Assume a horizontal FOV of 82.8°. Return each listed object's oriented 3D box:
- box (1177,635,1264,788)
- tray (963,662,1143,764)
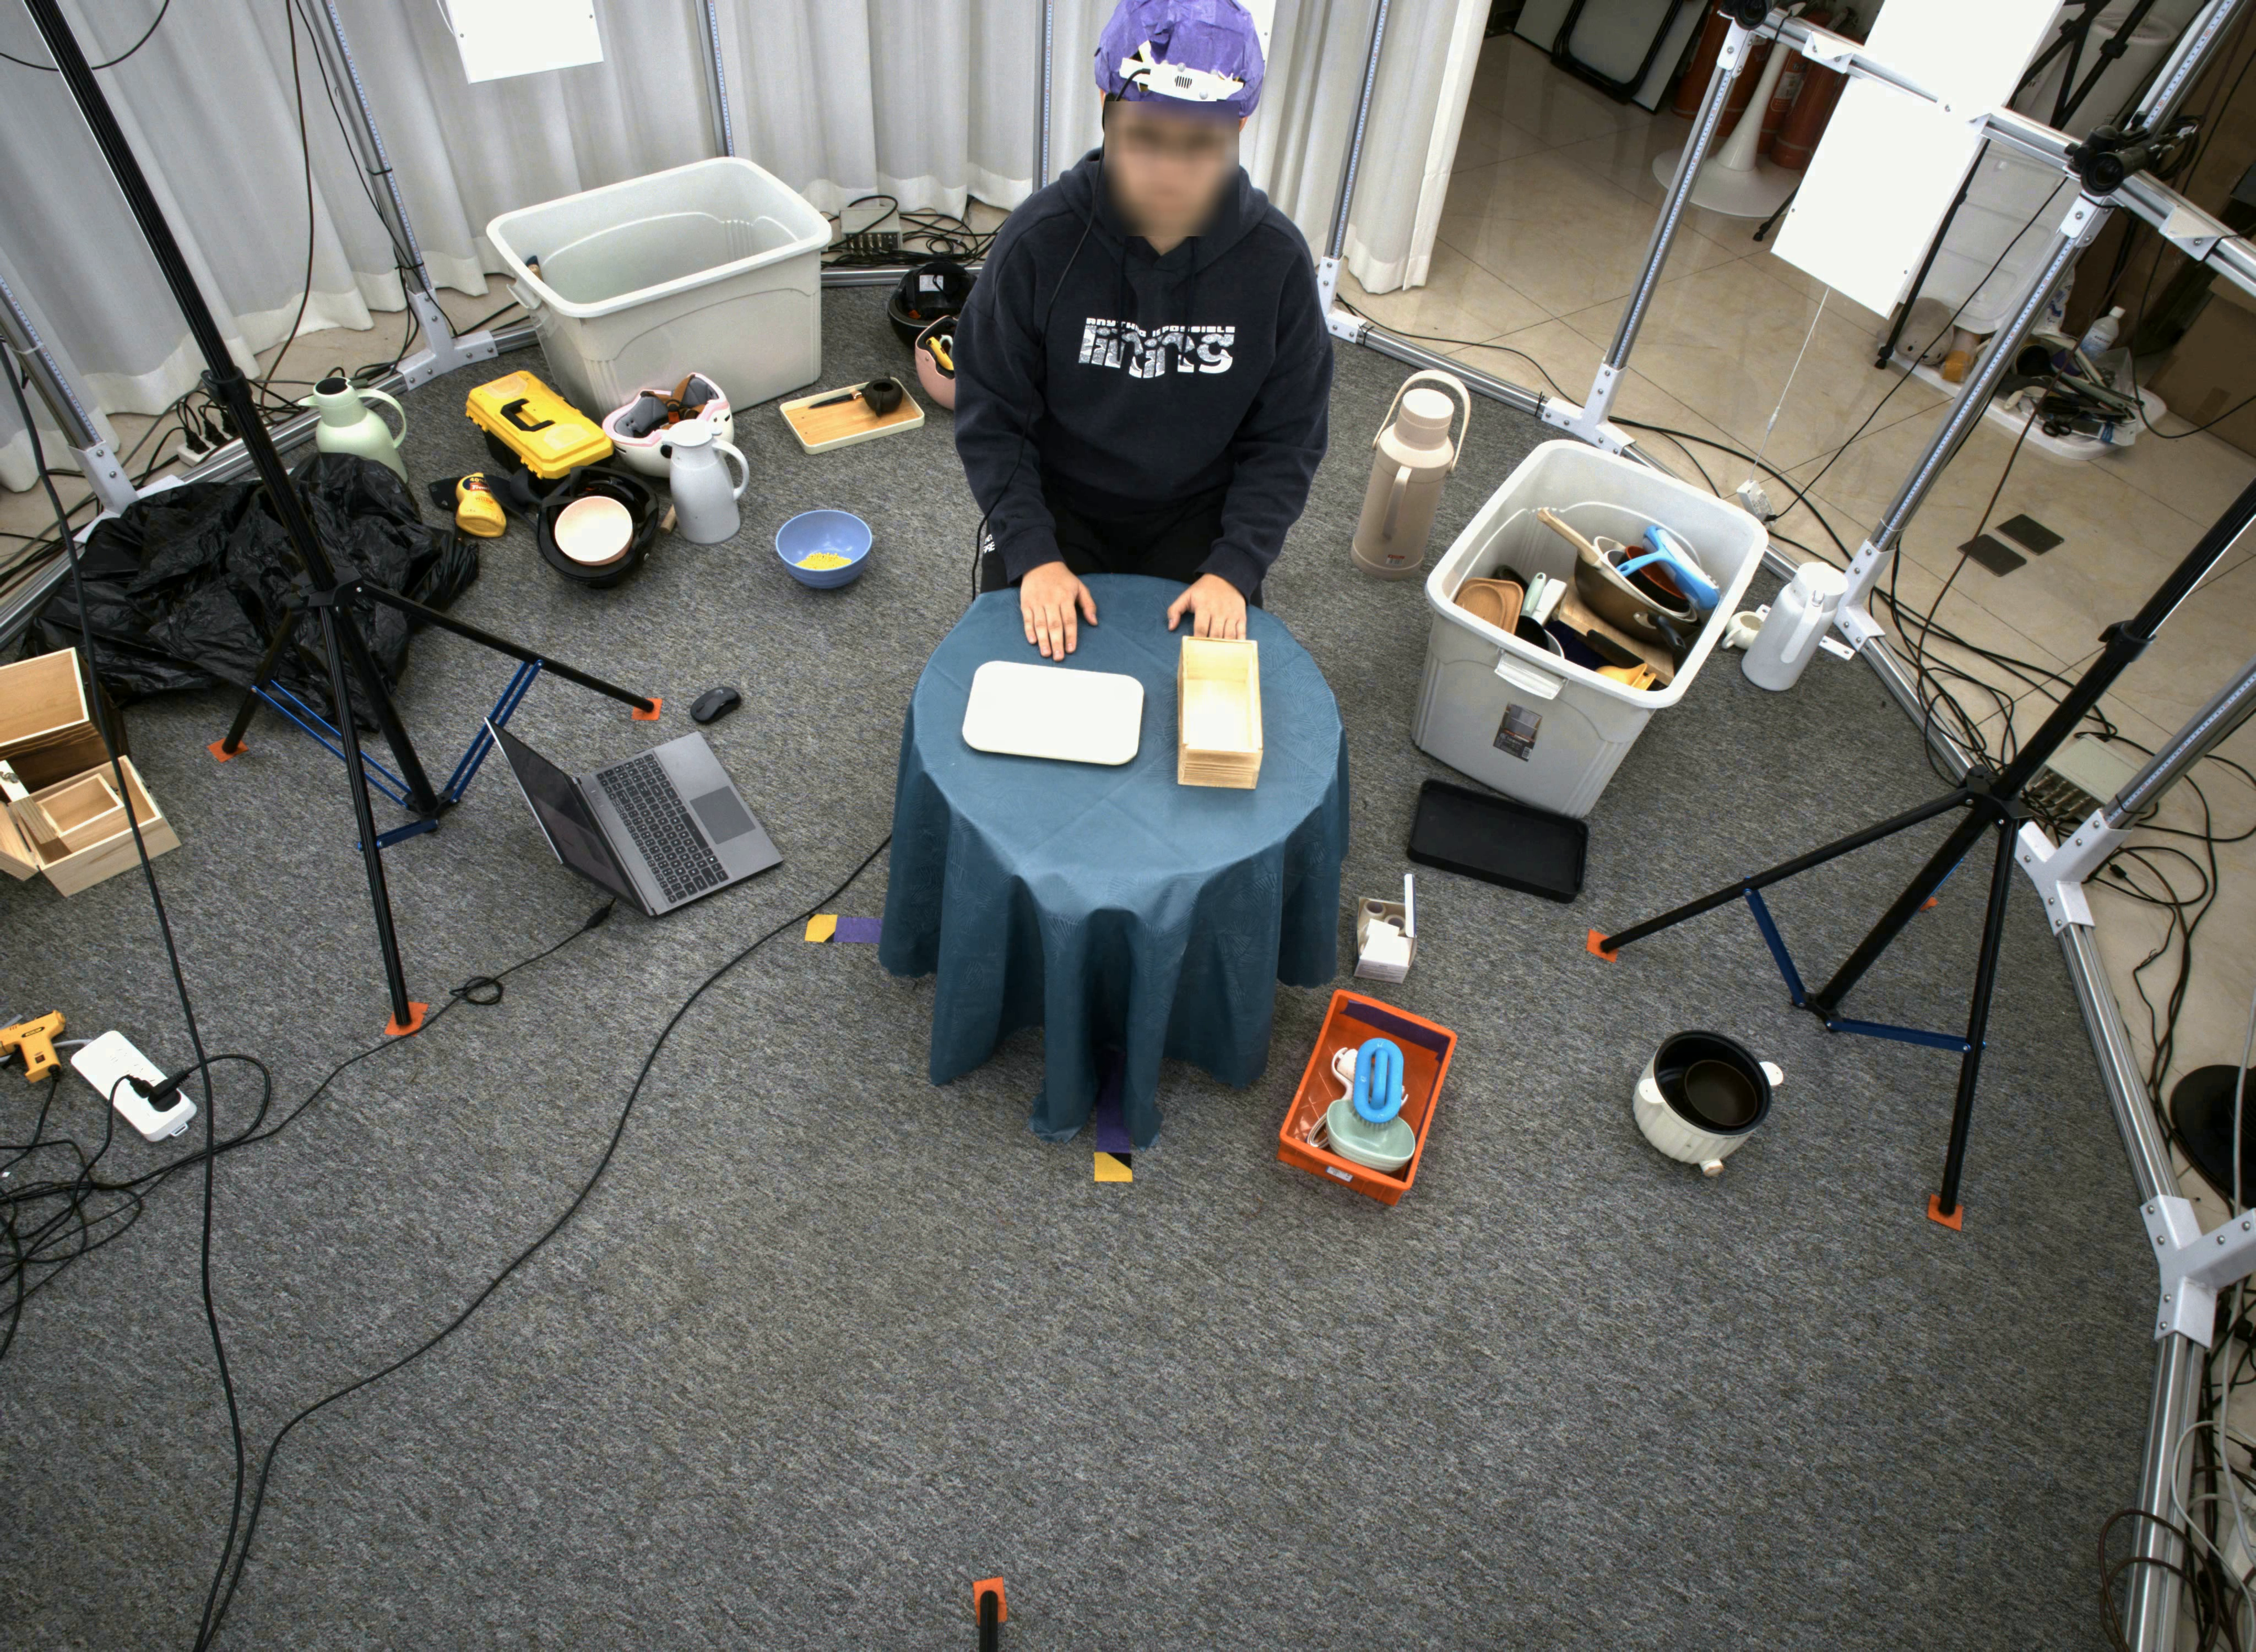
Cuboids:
[{"bbox_3d":[0.124,-0.160,1.762,0.107,0.078,0.217,3,49,-2],"label":"box"},{"bbox_3d":[-0.101,-0.157,1.782,0.239,0.017,0.175,6,48,1],"label":"tray"}]
